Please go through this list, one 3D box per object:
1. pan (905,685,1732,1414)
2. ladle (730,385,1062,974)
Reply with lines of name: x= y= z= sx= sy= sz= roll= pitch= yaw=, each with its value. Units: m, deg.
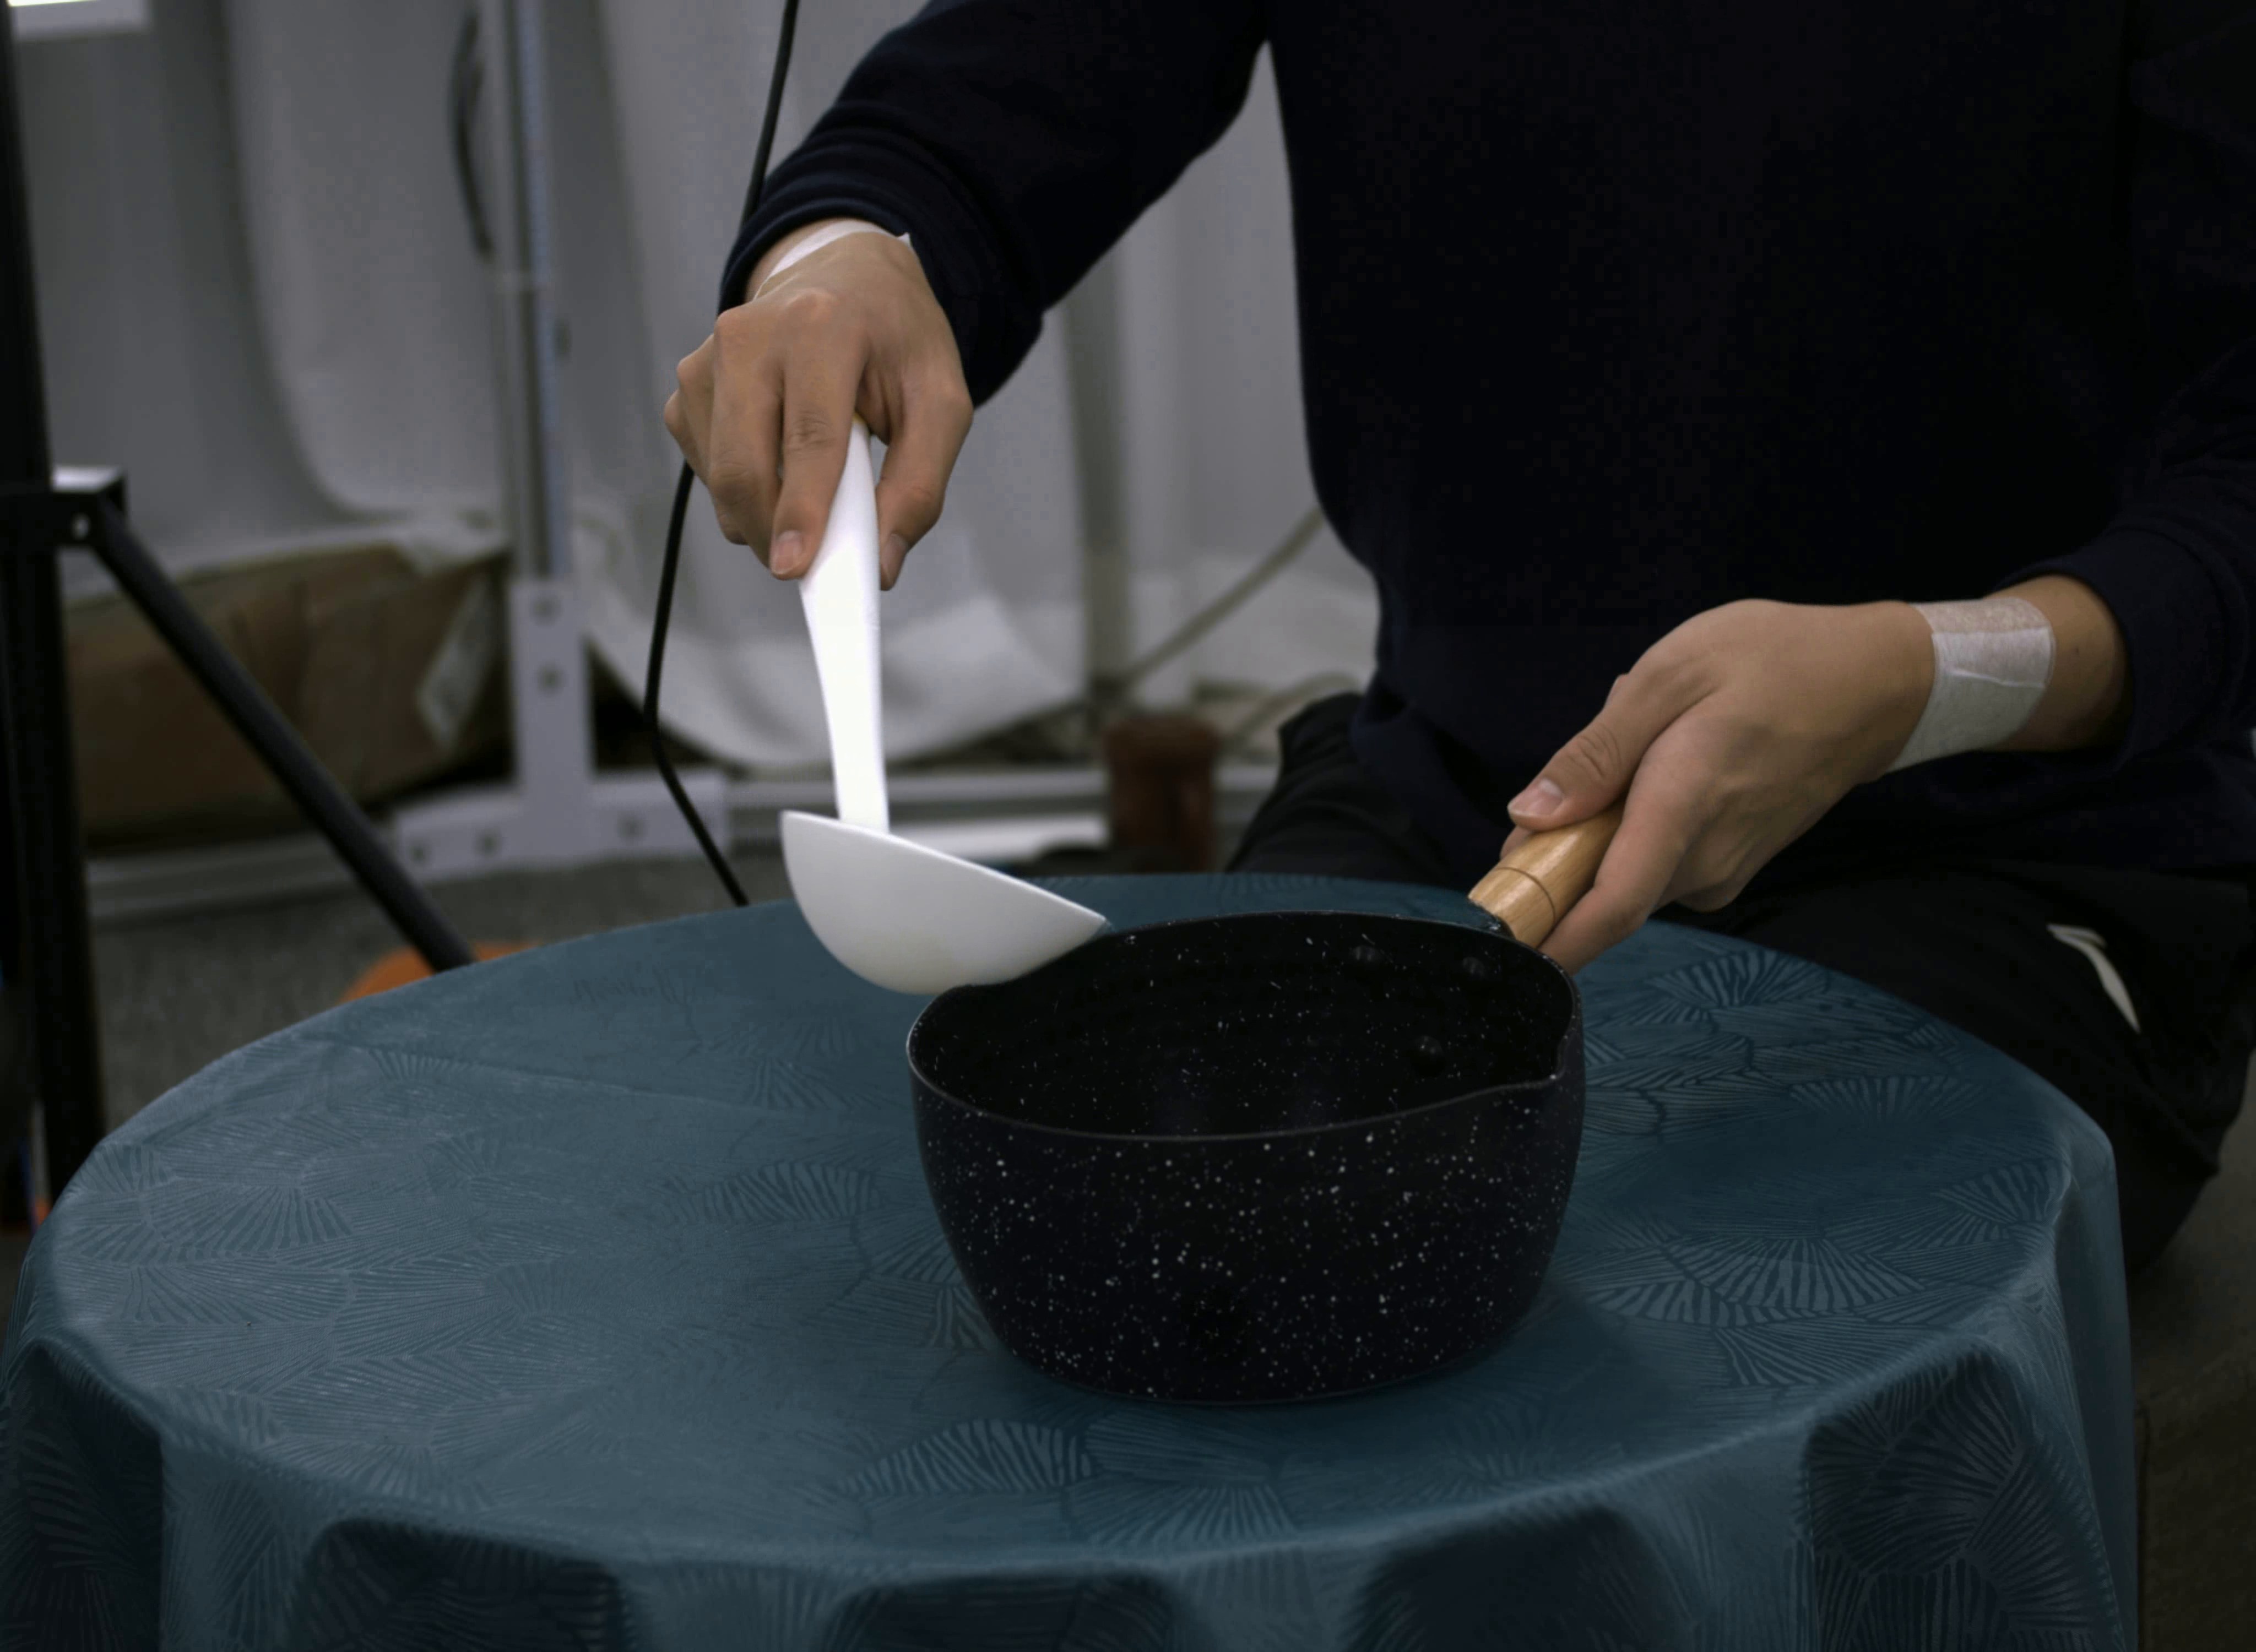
pan: x=0.078 y=0.058 z=1.502 sx=0.211 sy=0.108 sz=0.336 roll=7 pitch=22 yaw=35
ladle: x=-0.076 y=-0.053 z=1.491 sx=0.088 sy=0.070 sz=0.297 roll=13 pitch=32 yaw=-16
